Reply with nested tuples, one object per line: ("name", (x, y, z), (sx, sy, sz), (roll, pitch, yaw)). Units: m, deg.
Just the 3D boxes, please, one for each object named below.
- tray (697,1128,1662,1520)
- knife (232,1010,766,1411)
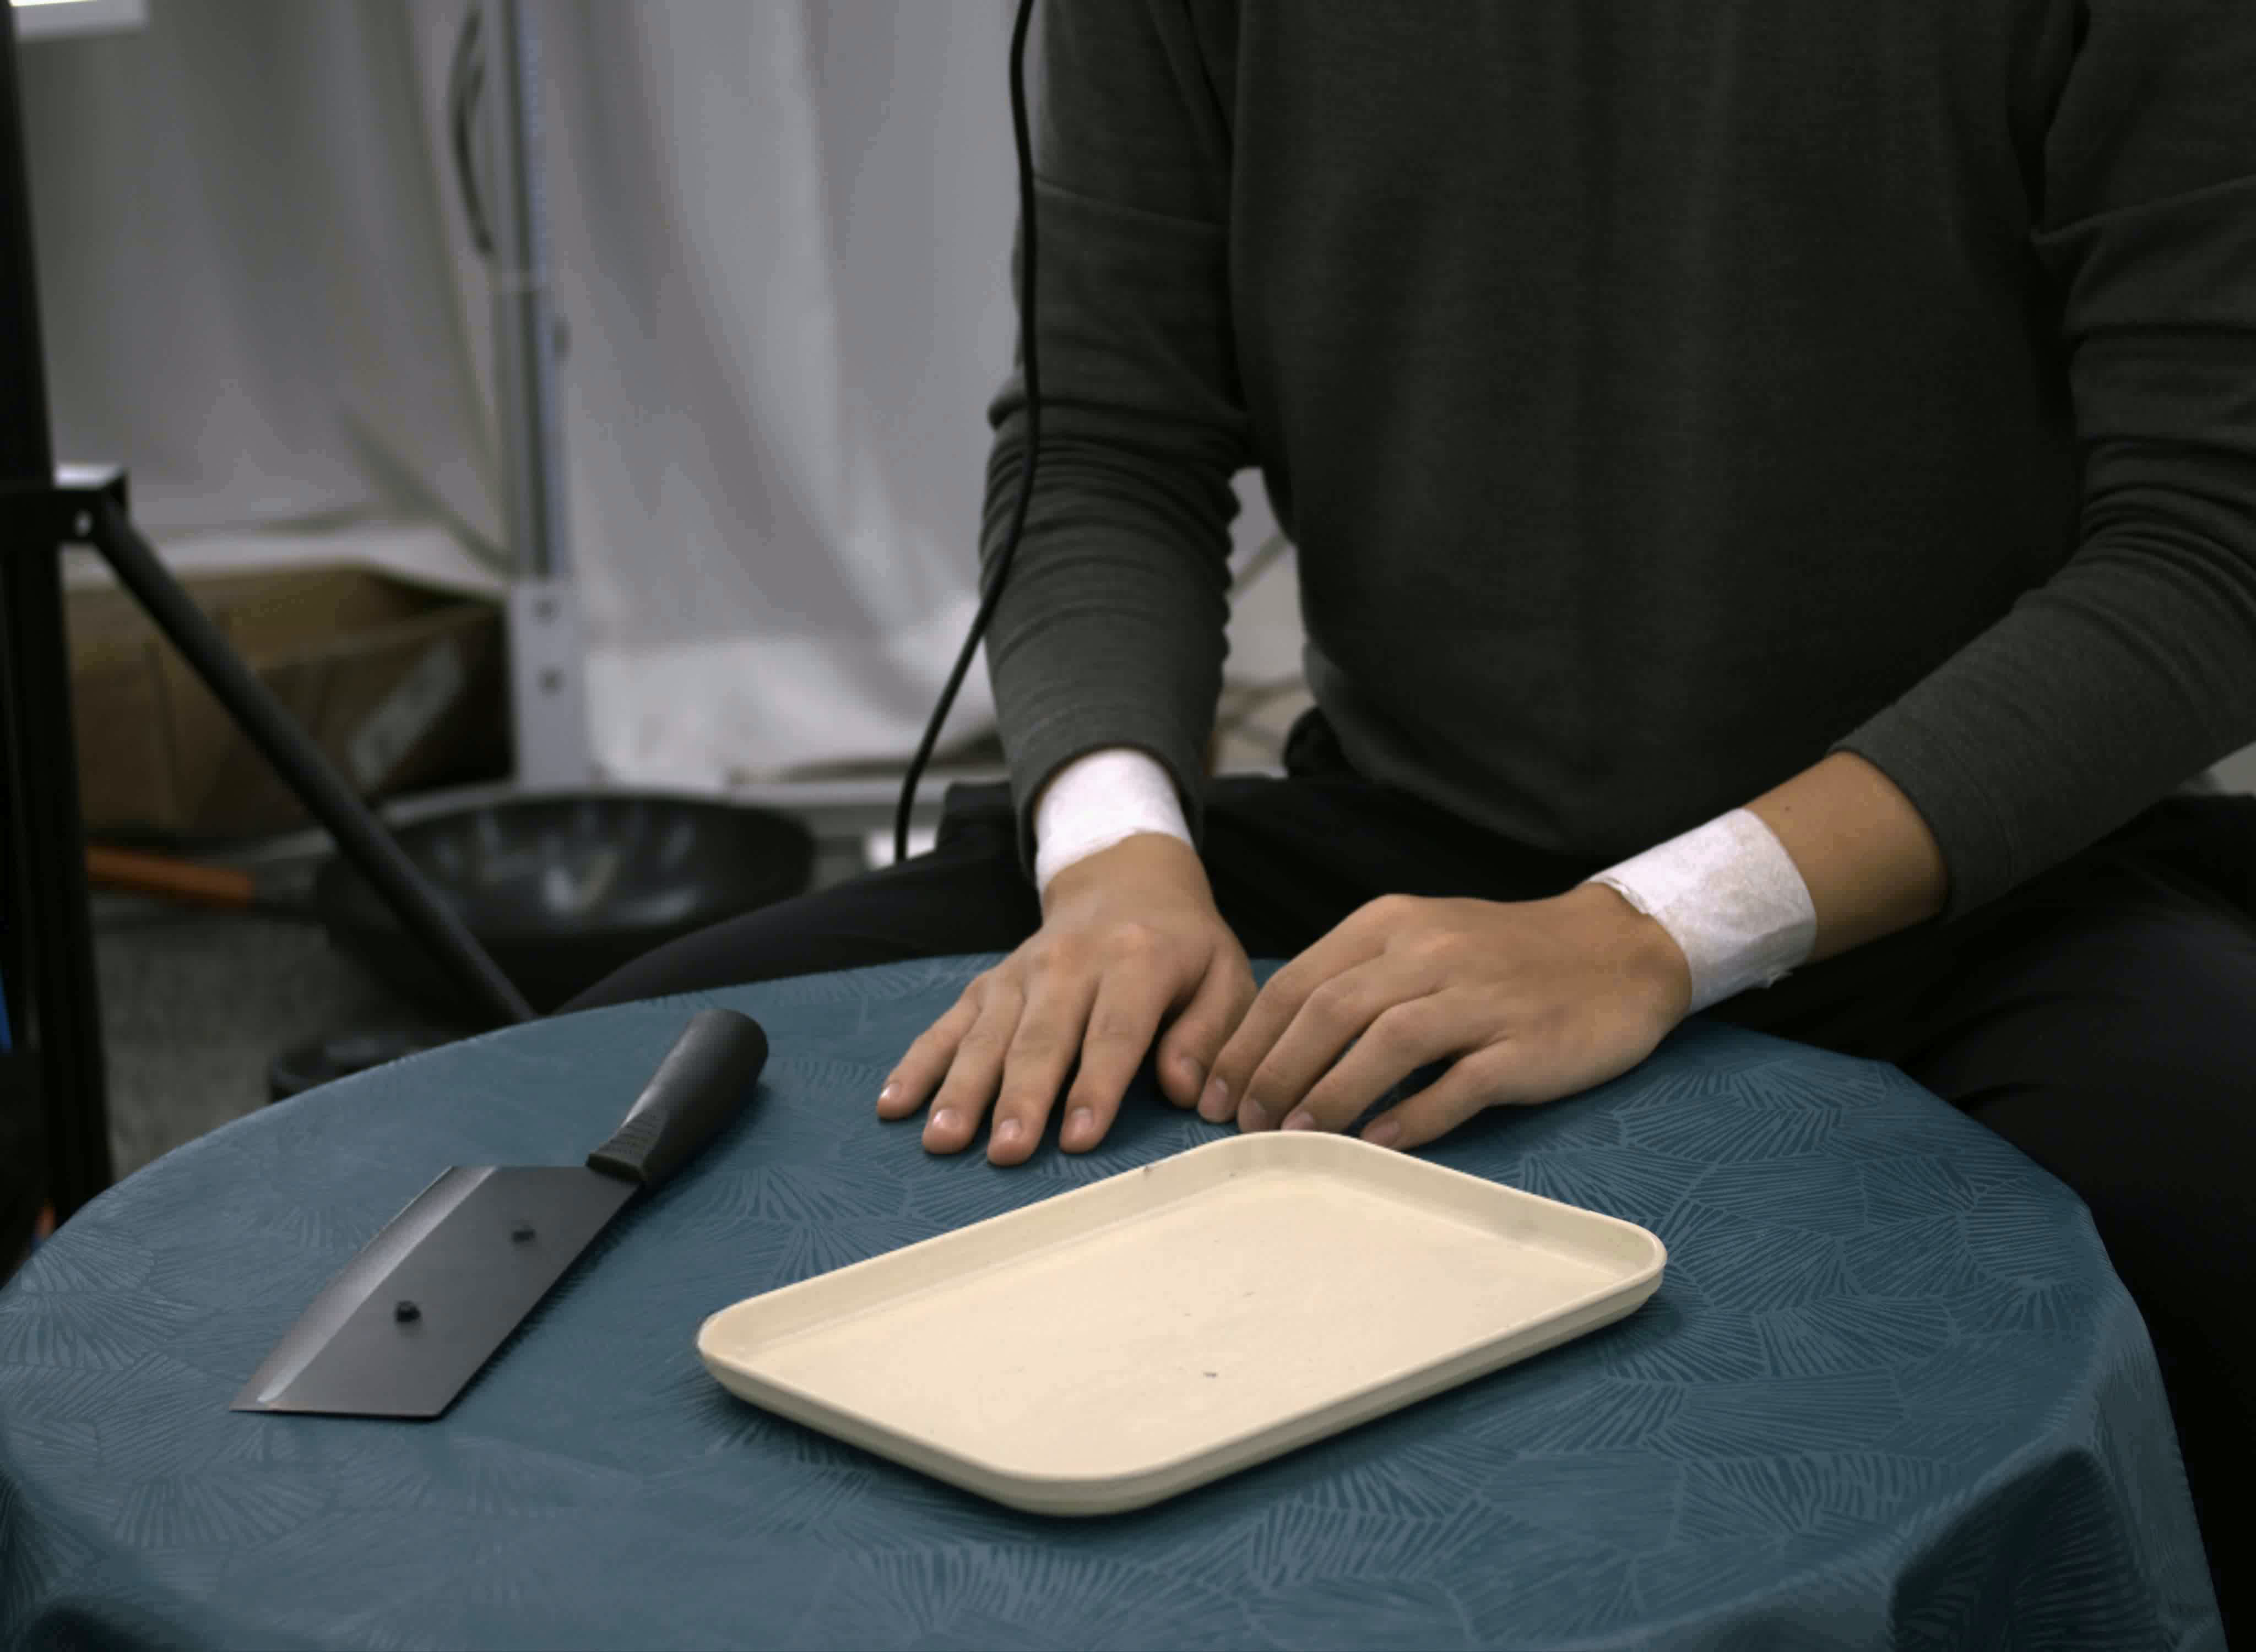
("tray", (0.016, 0.133, 1.438), (0.234, 0.017, 0.175), (-15, 21, -39))
("knife", (-0.174, 0.111, 1.555), (0.082, 0.021, 0.299), (2, 18, 19))
